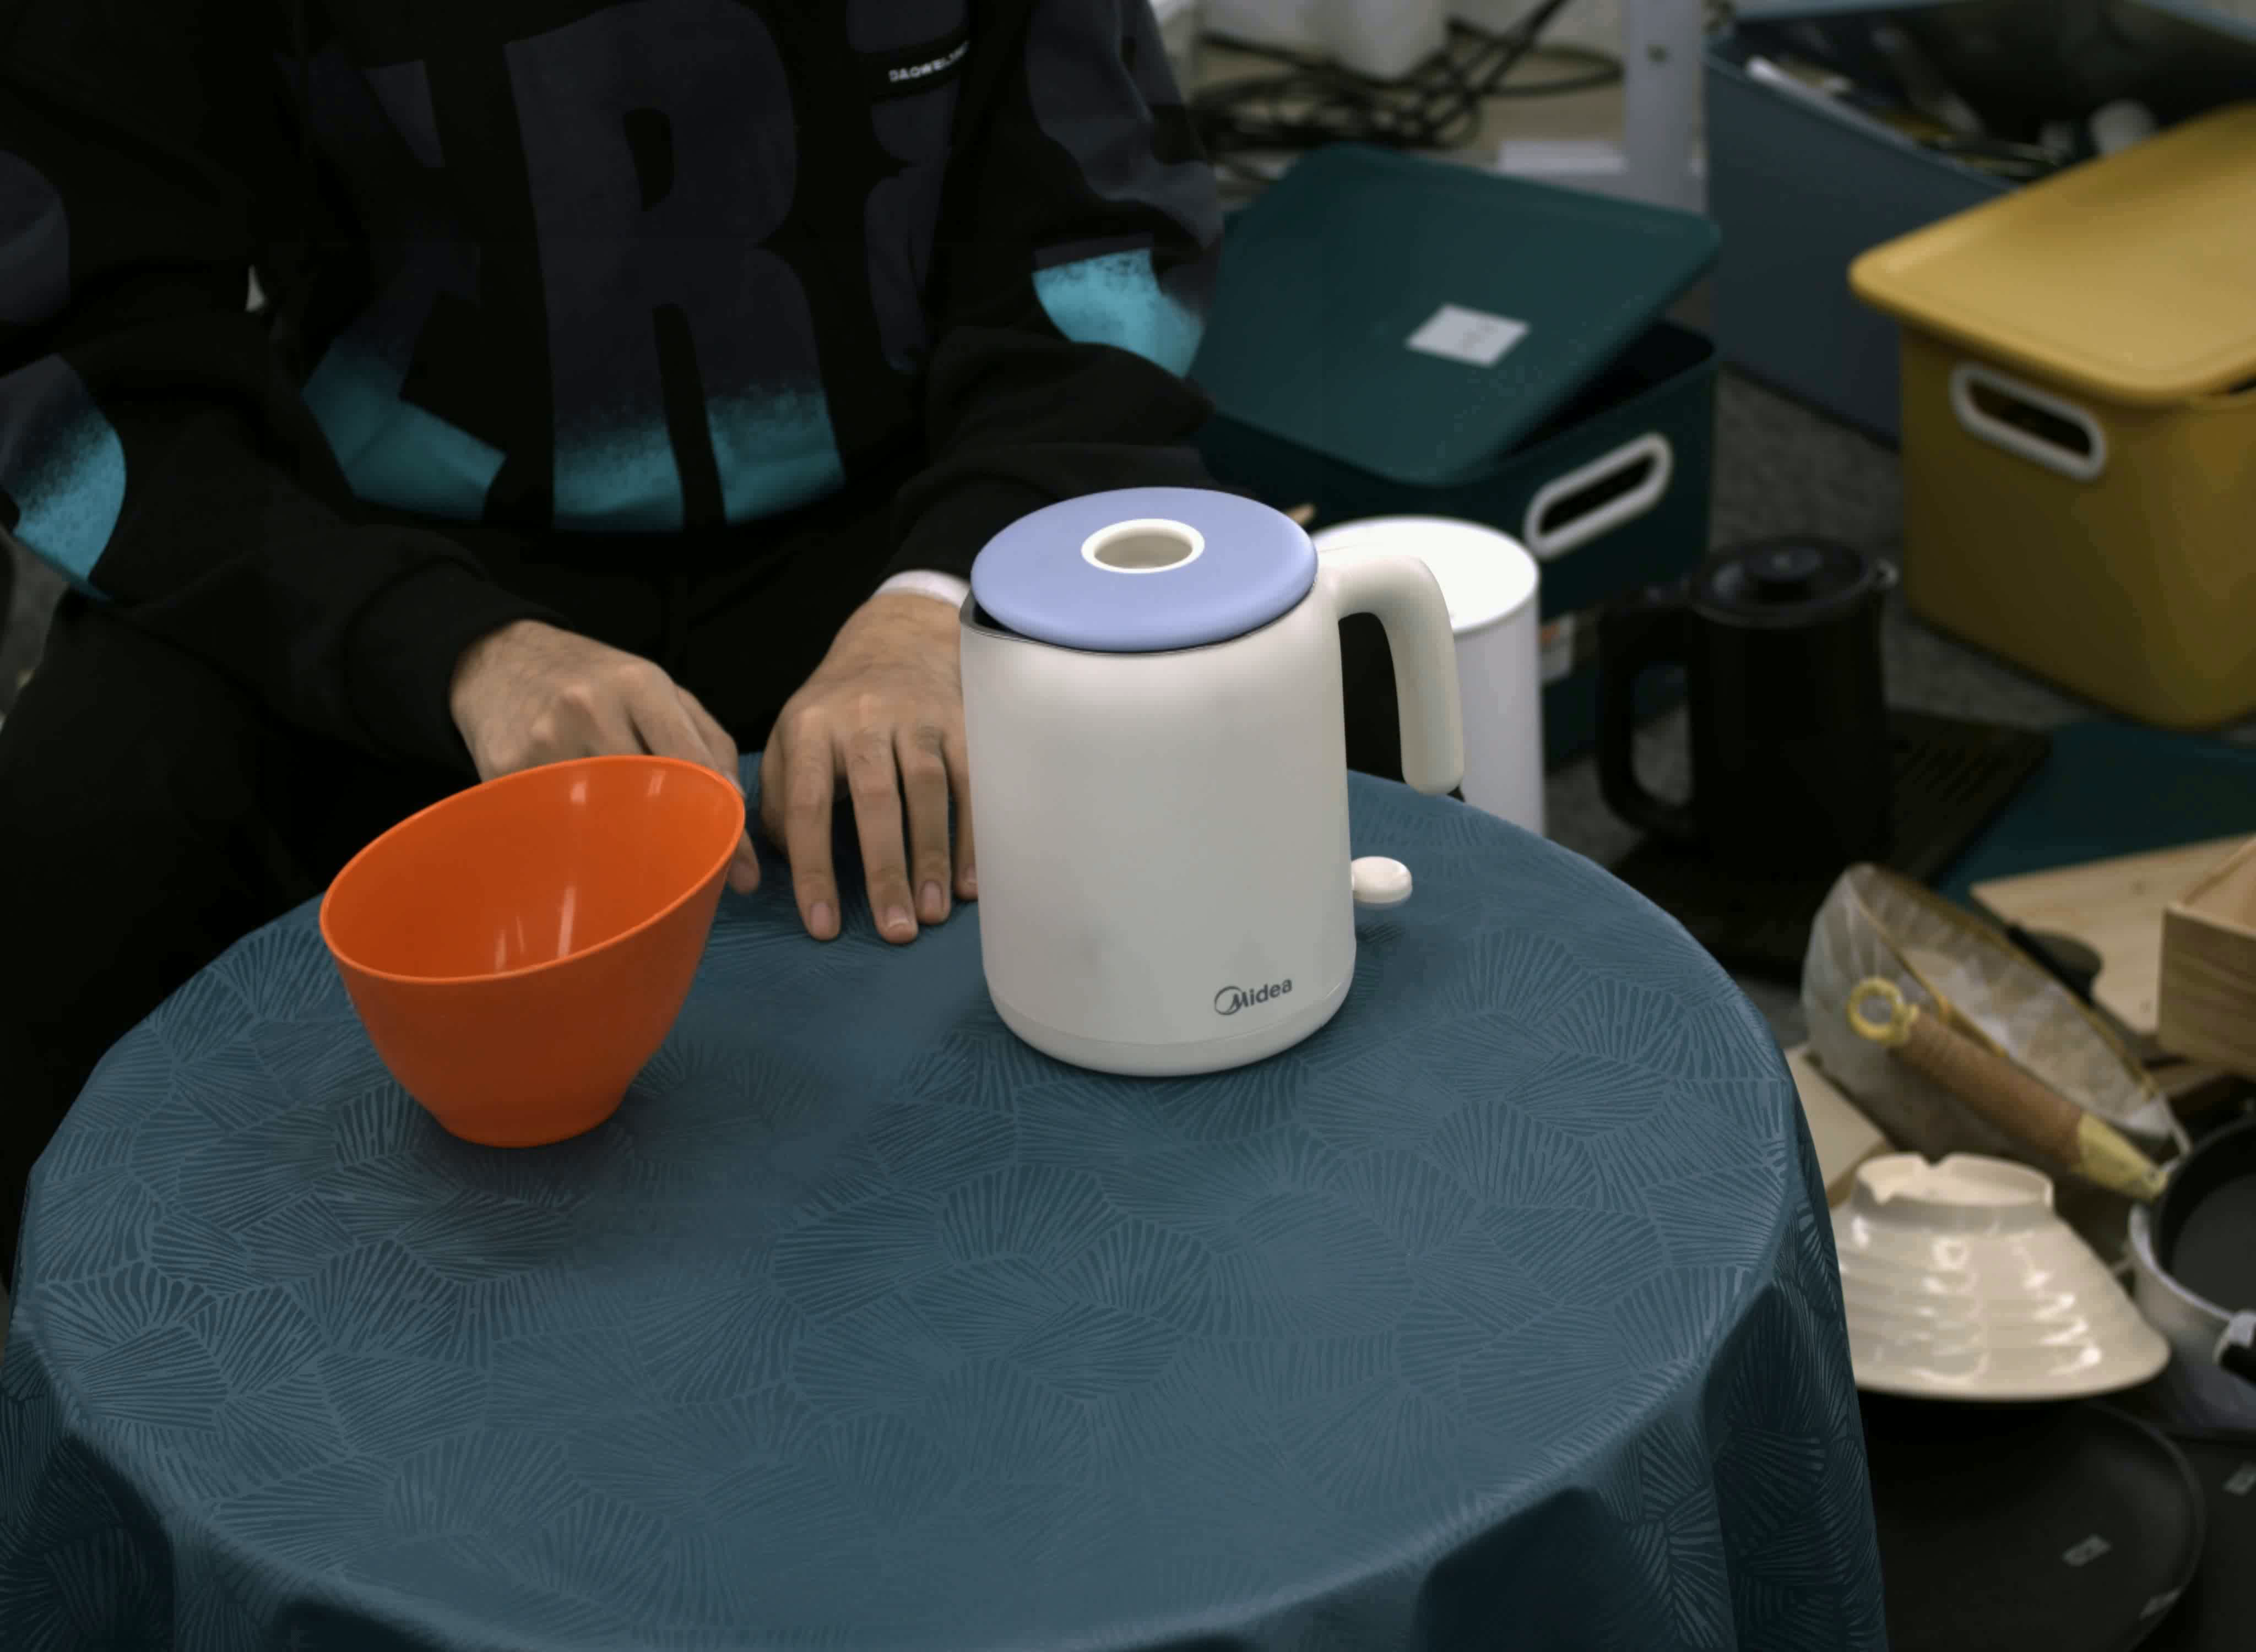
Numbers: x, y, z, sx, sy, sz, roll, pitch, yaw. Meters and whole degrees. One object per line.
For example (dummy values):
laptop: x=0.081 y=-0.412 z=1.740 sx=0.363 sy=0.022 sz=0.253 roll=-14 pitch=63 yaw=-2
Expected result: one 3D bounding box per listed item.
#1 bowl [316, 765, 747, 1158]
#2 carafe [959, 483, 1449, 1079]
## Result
bowl: x=-0.199 y=0.052 z=1.907 sx=0.147 sy=0.103 sz=0.150 roll=-2 pitch=27 yaw=1
carafe: x=0.030 y=-0.022 z=1.951 sx=0.192 sy=0.180 sz=0.133 roll=-14 pitch=30 yaw=-26
